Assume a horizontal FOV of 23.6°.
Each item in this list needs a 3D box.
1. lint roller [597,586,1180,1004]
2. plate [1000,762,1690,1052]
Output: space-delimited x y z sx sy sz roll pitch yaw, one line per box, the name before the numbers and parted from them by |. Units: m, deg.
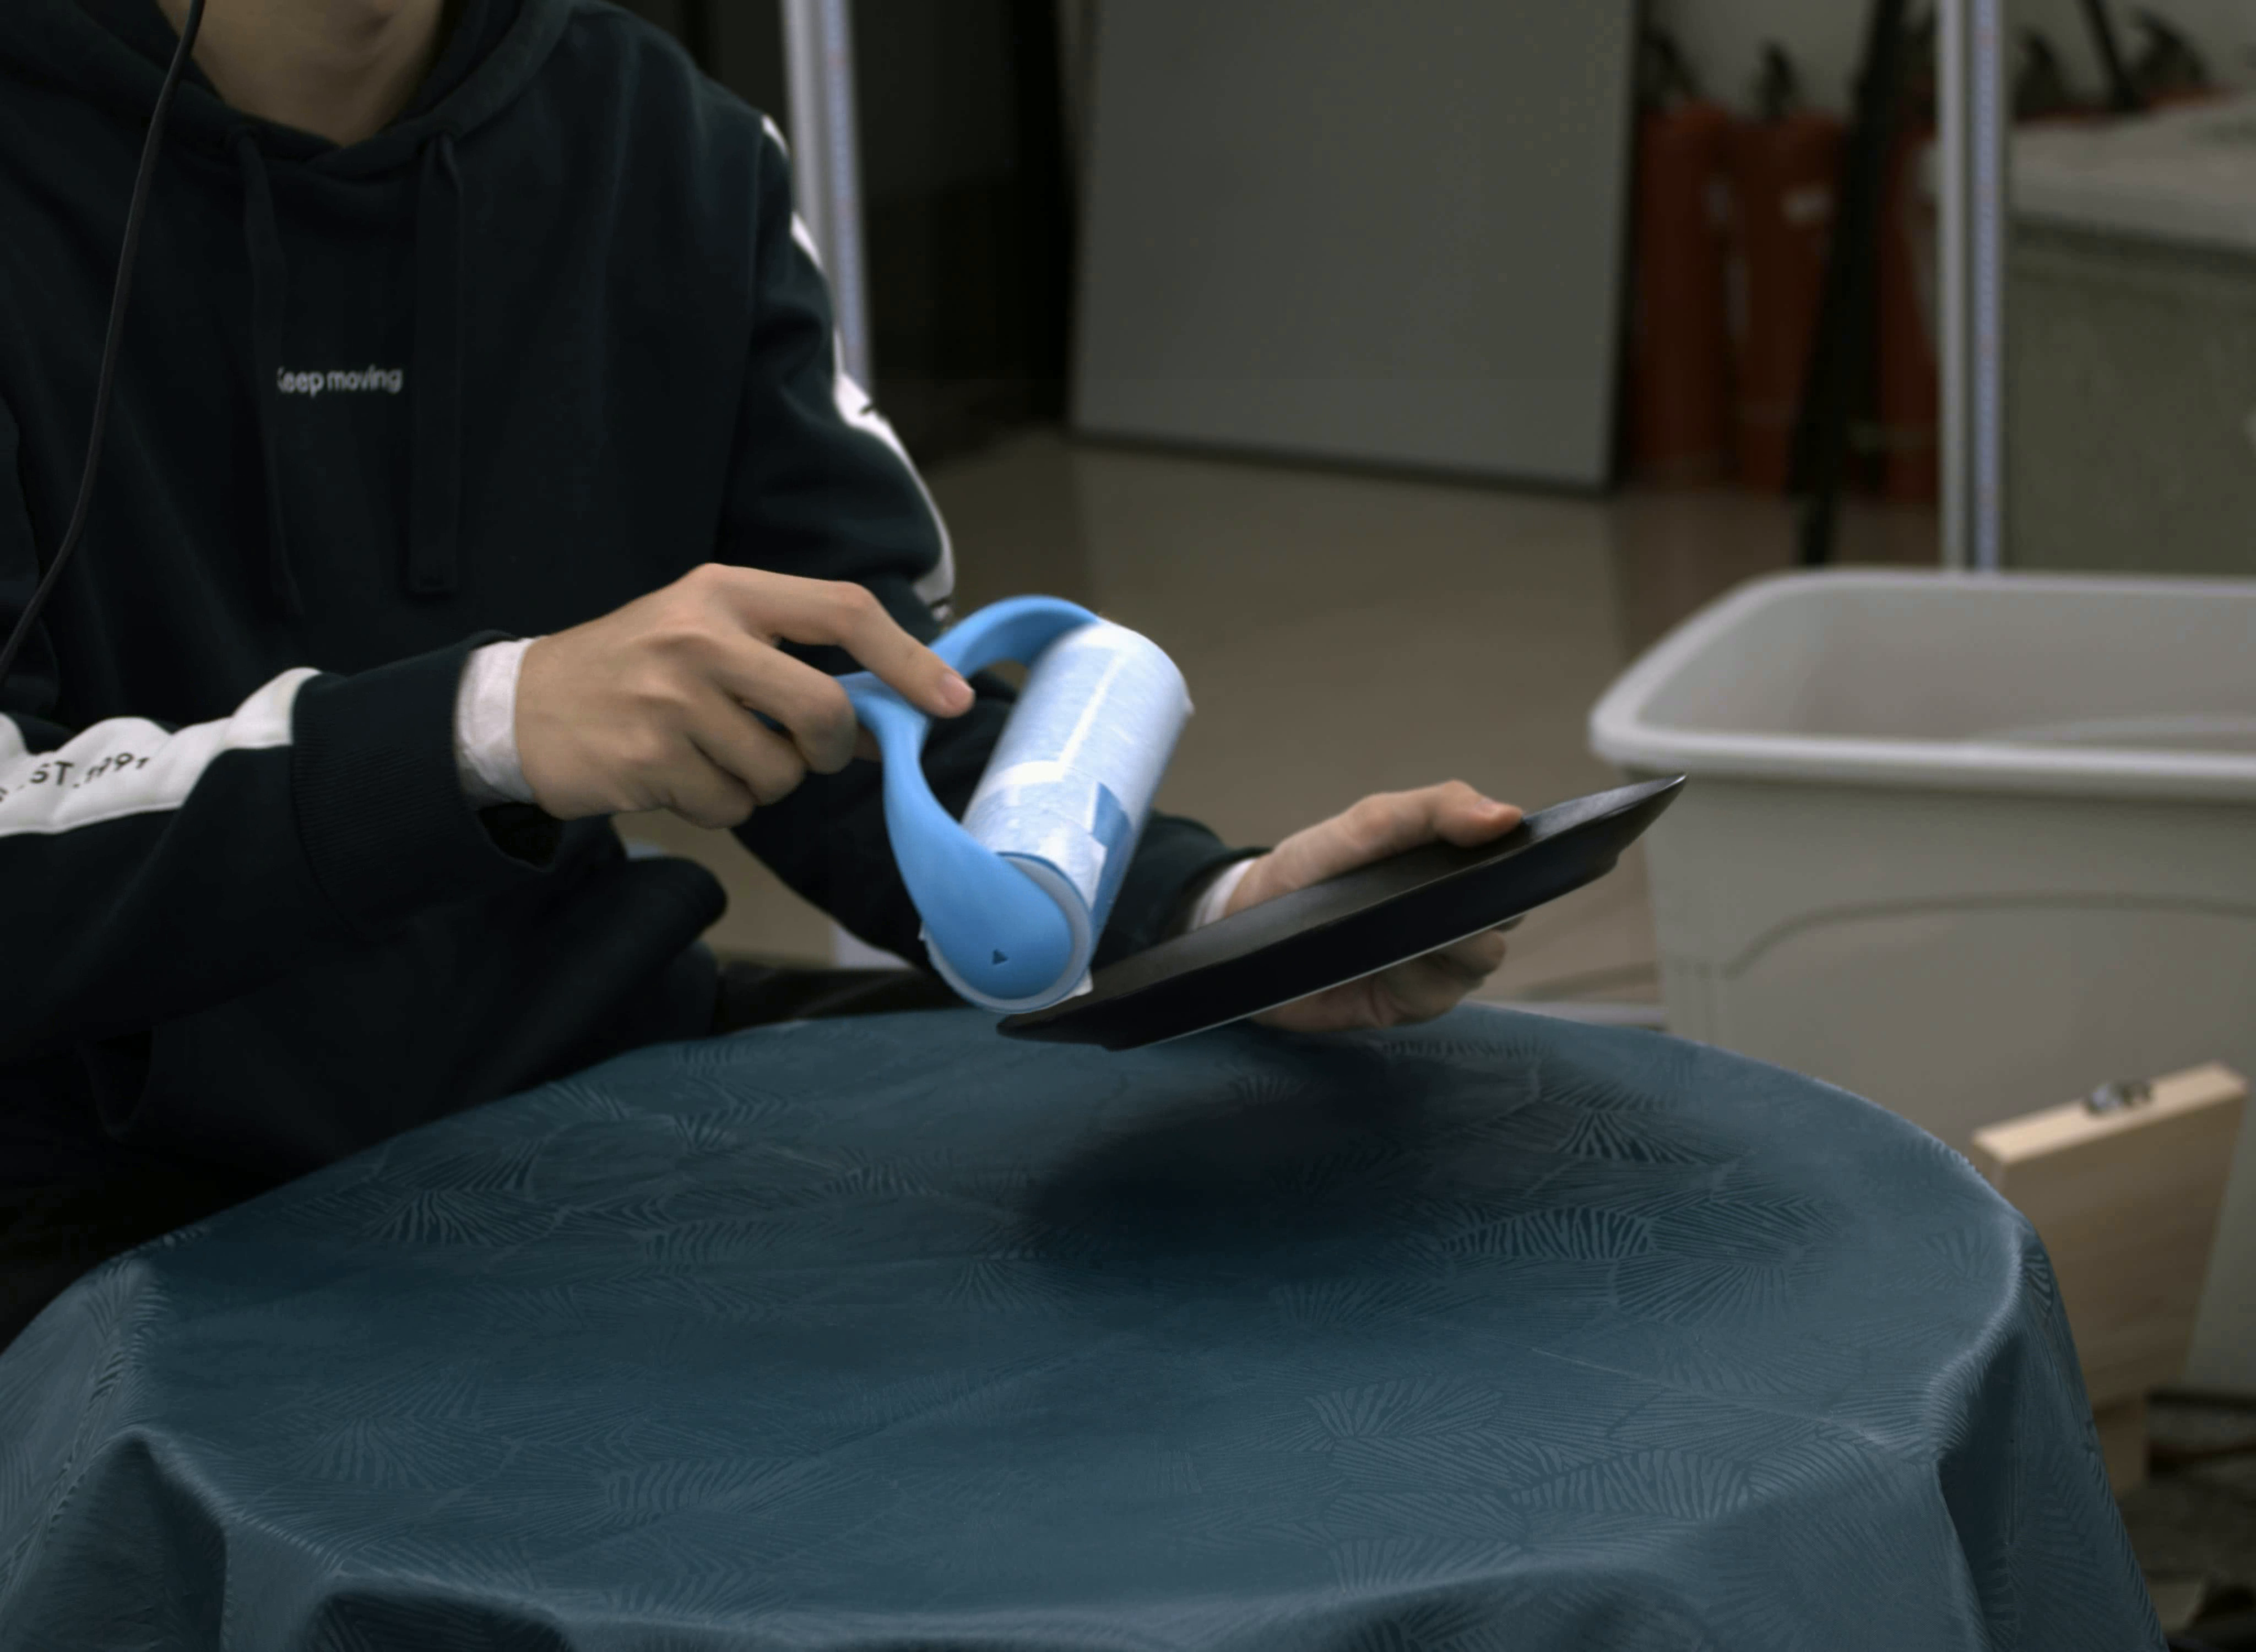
lint roller | -0.079 -0.017 1.707 0.178 0.068 0.229 7 25 3
plate | 0.074 0.032 1.767 0.242 0.023 0.244 -21 0 -1
